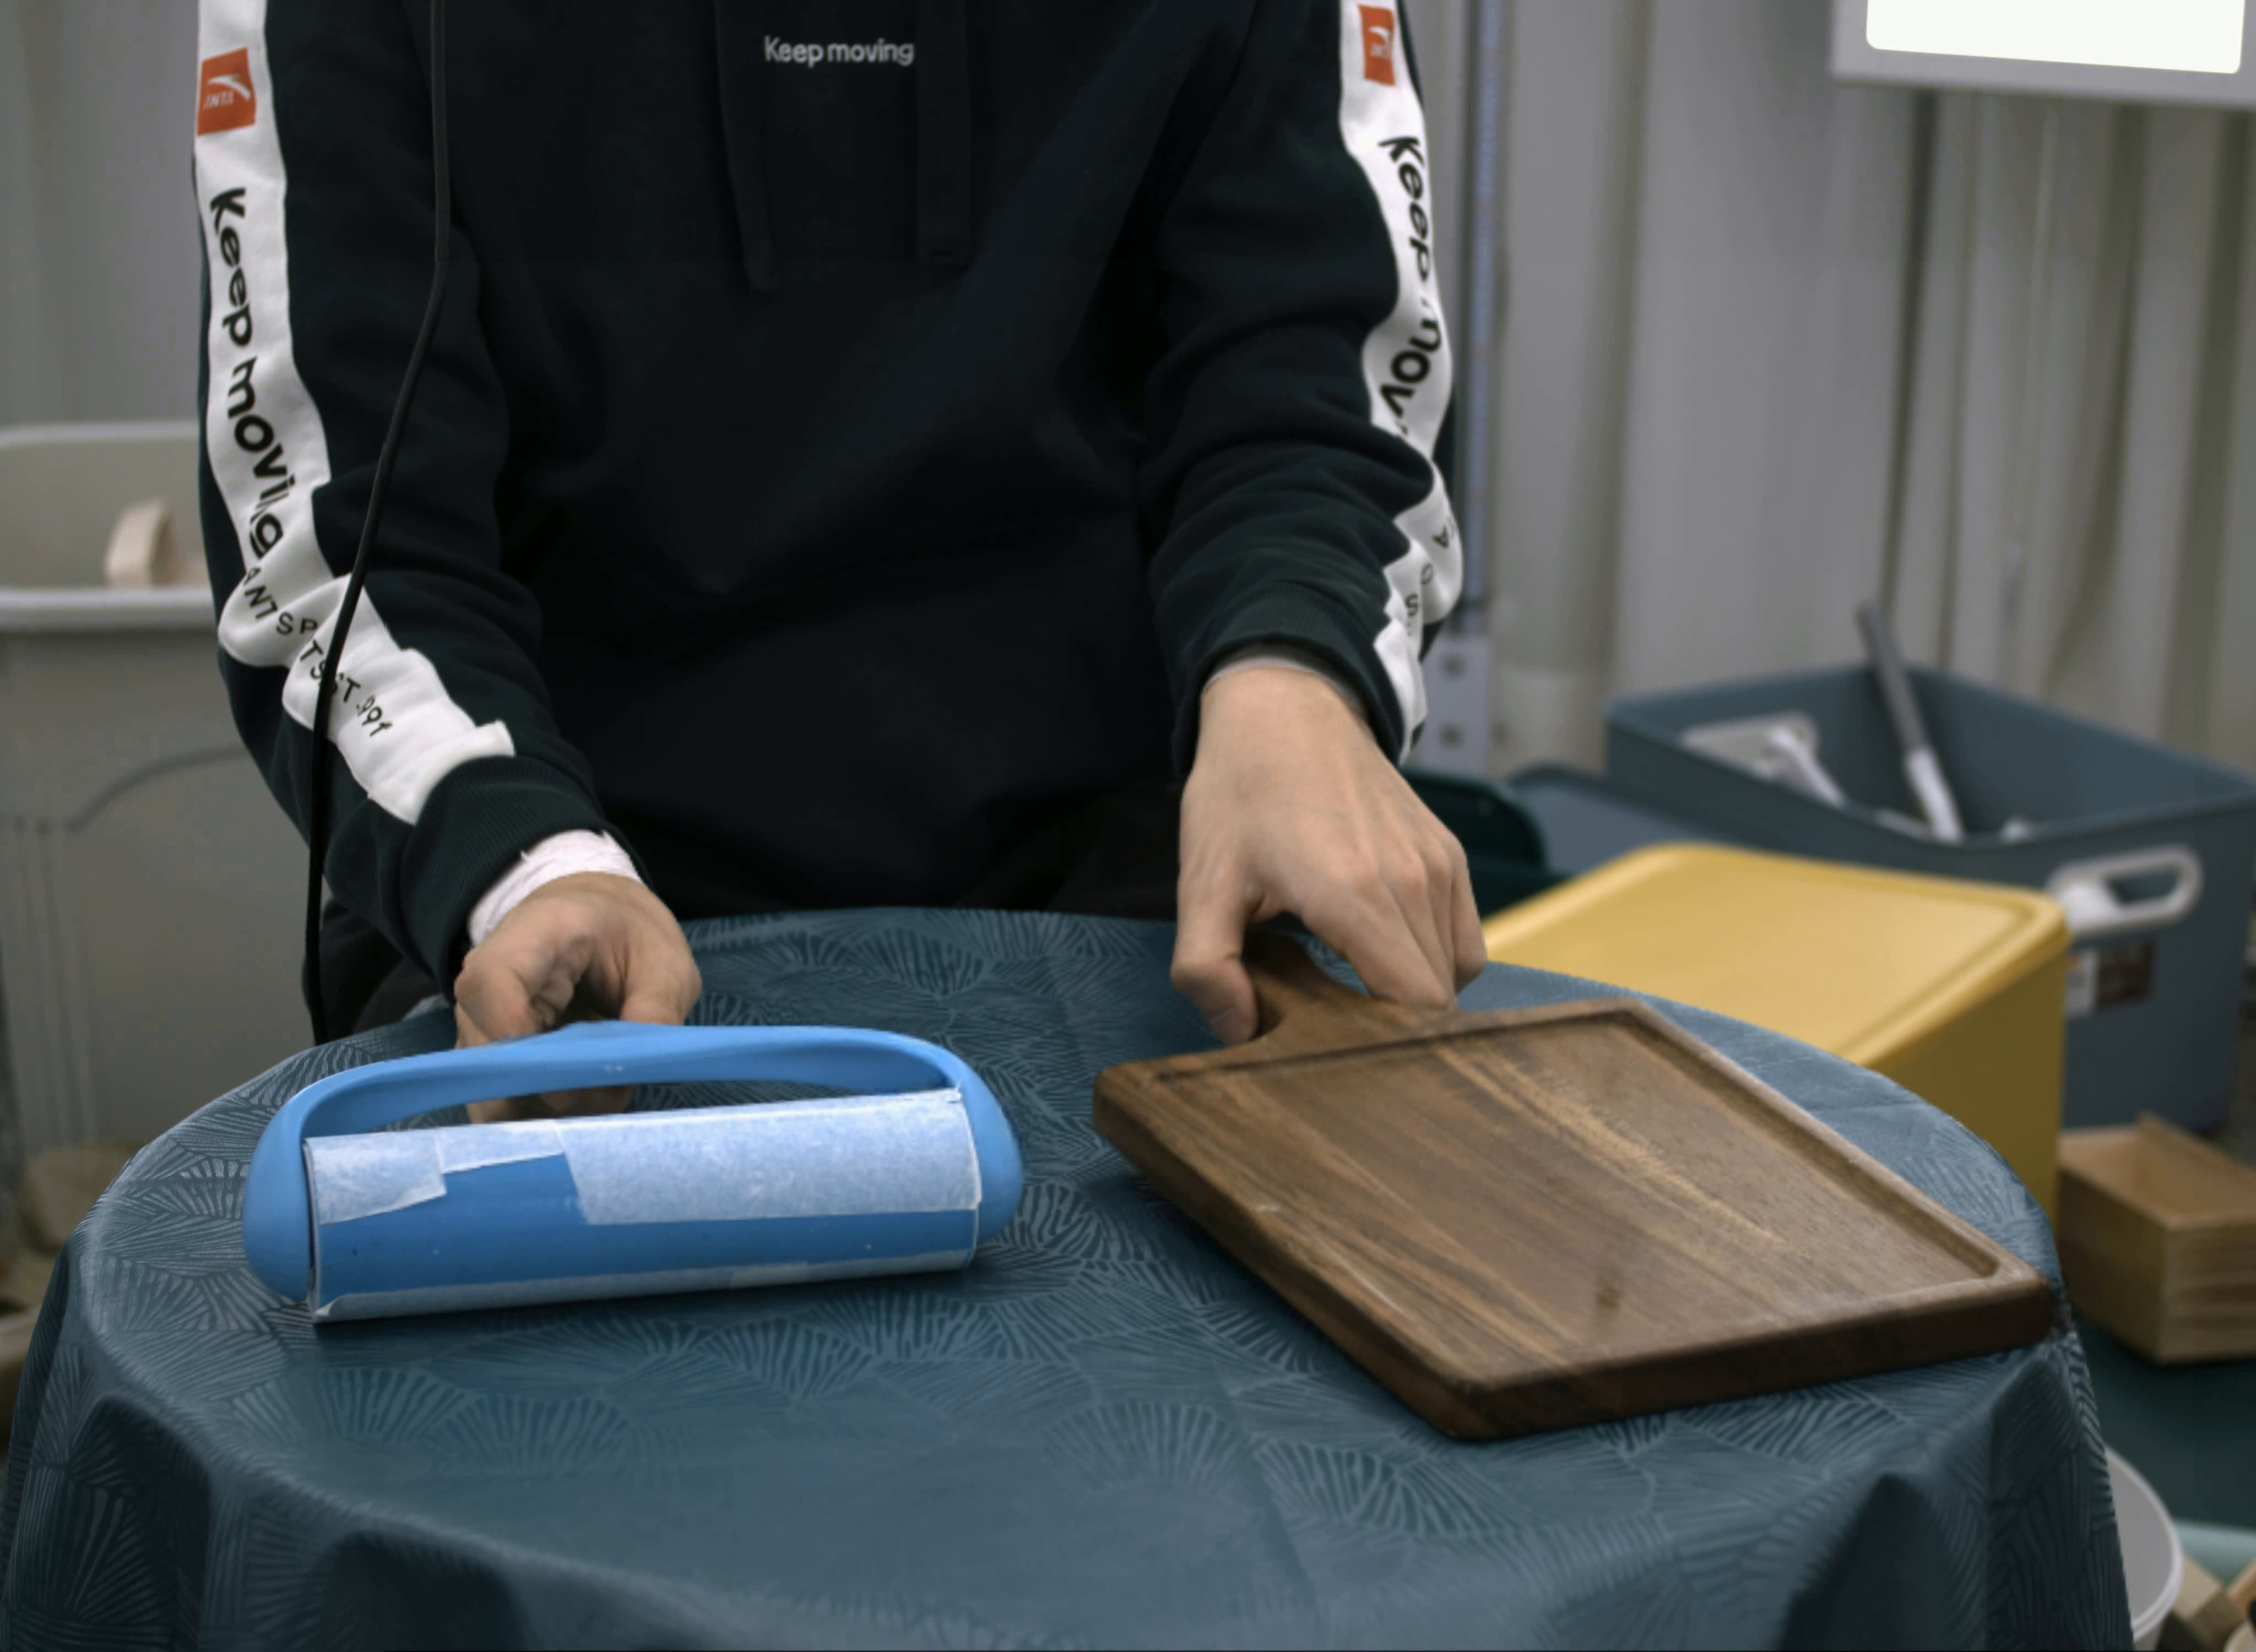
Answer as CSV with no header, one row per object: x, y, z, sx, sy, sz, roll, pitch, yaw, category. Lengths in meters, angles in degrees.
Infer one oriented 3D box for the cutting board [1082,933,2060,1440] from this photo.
0.105,0.097,1.603,0.202,0.023,0.347,-6,20,-26,cutting board

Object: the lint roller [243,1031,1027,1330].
-0.158,0.092,1.577,0.229,0.068,0.178,-6,19,-16,lint roller
